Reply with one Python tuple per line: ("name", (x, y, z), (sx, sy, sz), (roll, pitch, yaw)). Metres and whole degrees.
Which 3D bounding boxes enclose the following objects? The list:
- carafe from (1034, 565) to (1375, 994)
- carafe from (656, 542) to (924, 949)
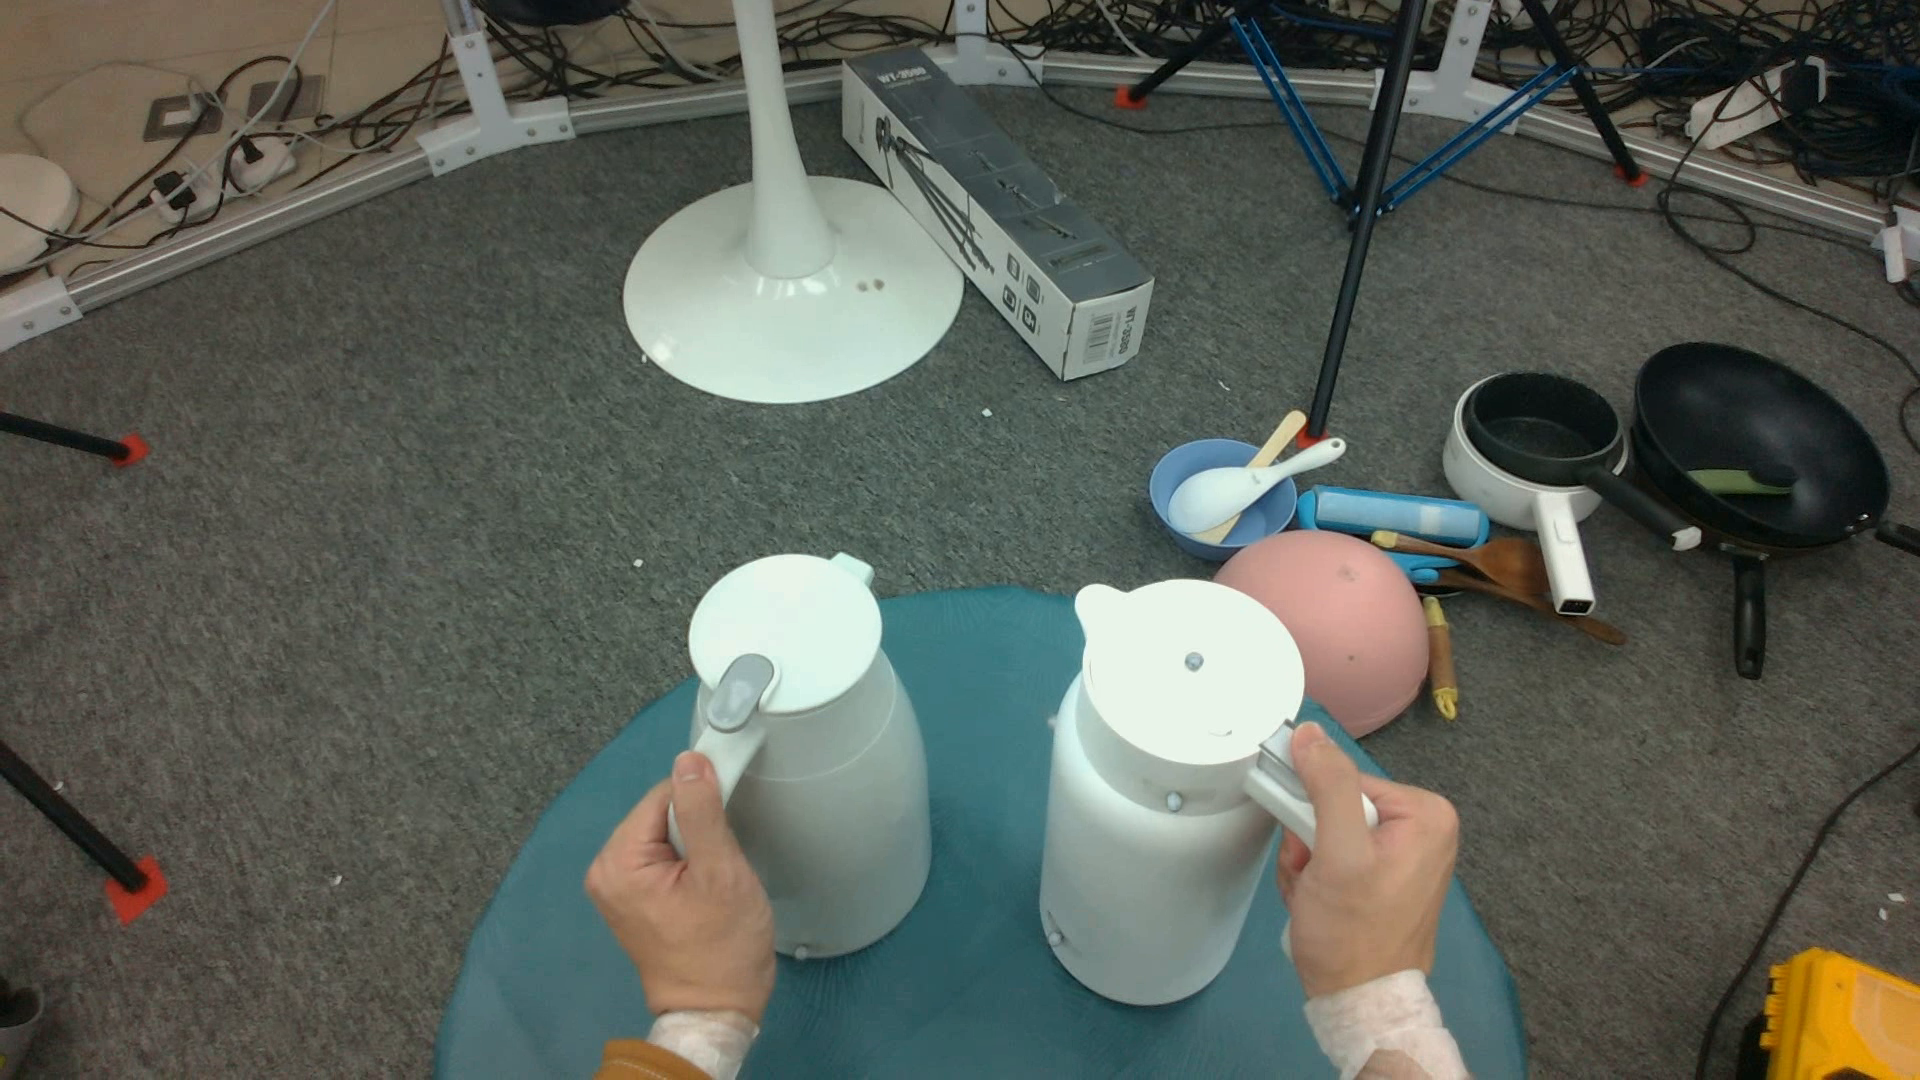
("carafe", (0.114, 0.141, 0.706), (0.124, 0.267, 0.173), (-36, 60, -28))
("carafe", (-0.095, 0.123, 0.730), (0.132, 0.247, 0.168), (23, 55, 16))
